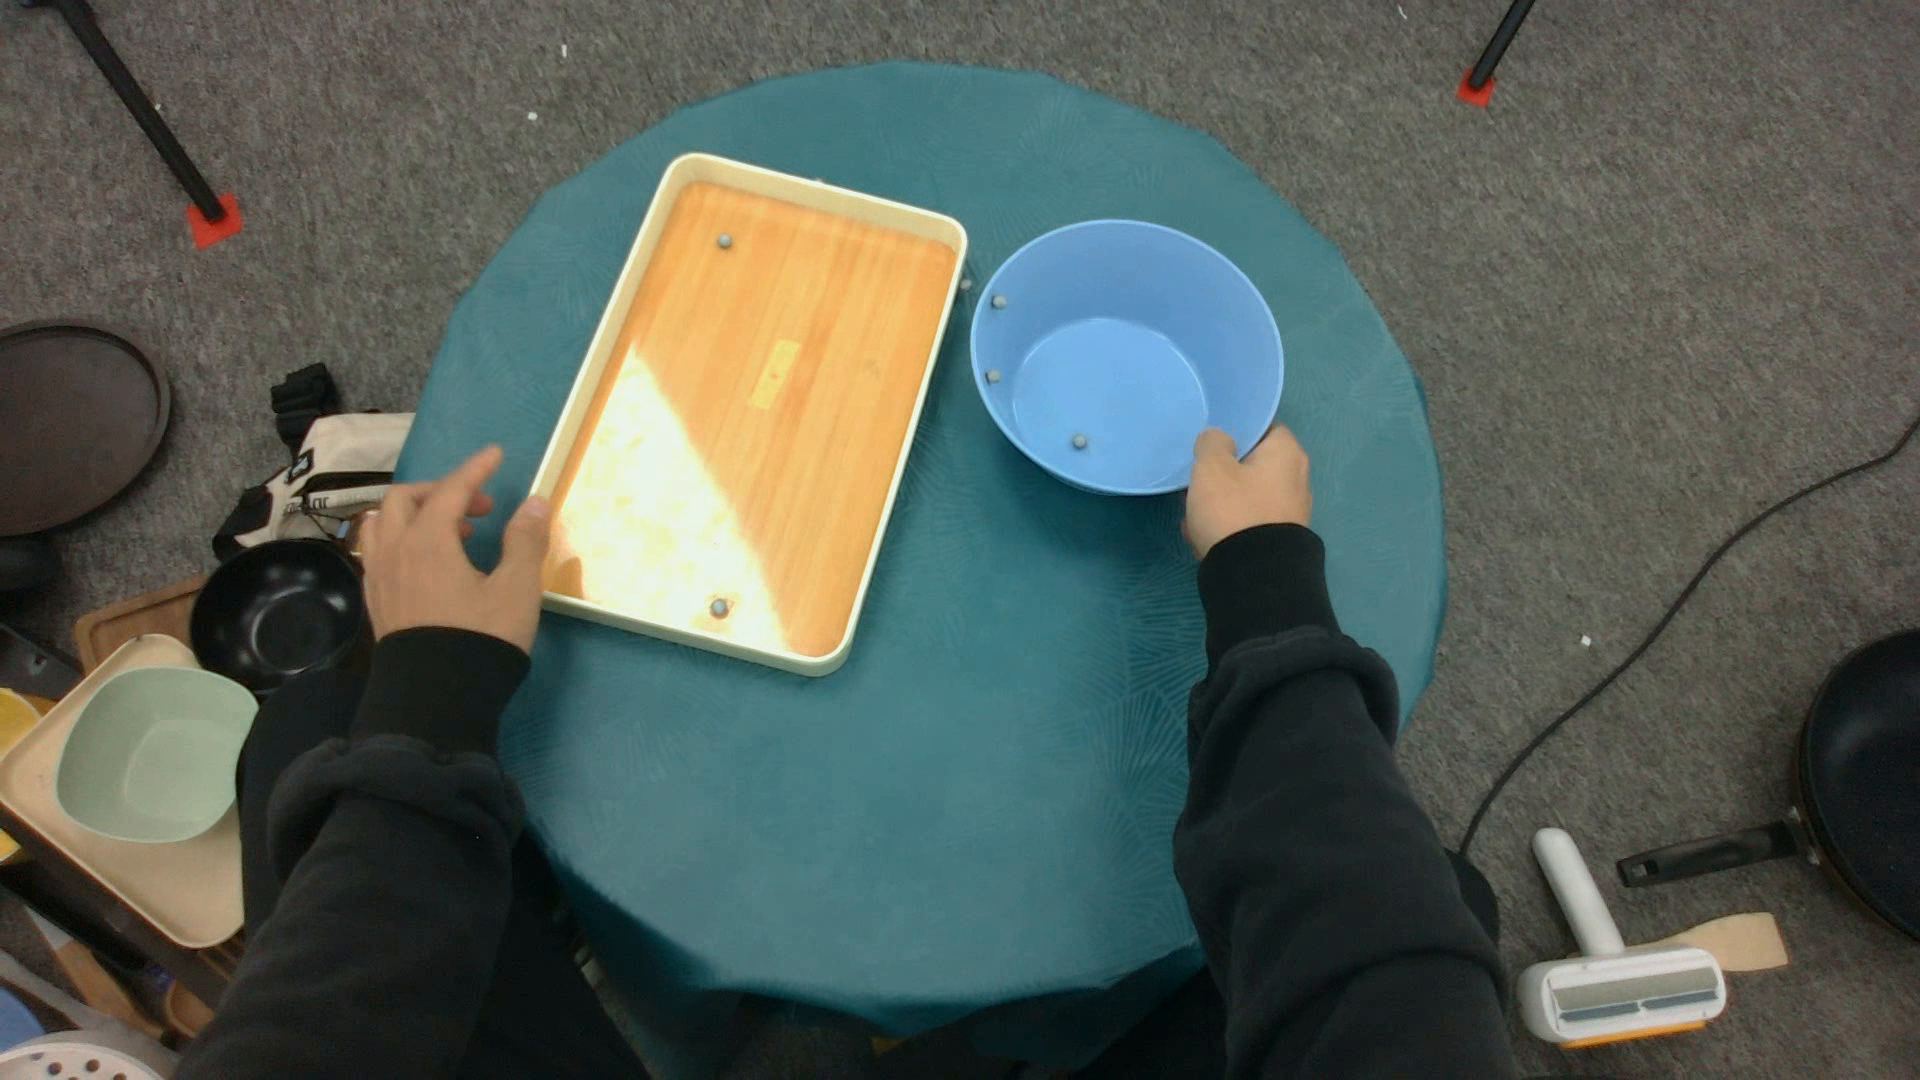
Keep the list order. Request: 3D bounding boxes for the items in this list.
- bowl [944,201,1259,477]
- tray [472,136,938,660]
[{"bbox_3d":[0.077,-0.103,0.790,0.176,0.070,0.176,2,66,-4],"label":"bowl"},{"bbox_3d":[-0.136,-0.090,0.788,0.191,0.027,0.301,14,66,0],"label":"tray"}]
